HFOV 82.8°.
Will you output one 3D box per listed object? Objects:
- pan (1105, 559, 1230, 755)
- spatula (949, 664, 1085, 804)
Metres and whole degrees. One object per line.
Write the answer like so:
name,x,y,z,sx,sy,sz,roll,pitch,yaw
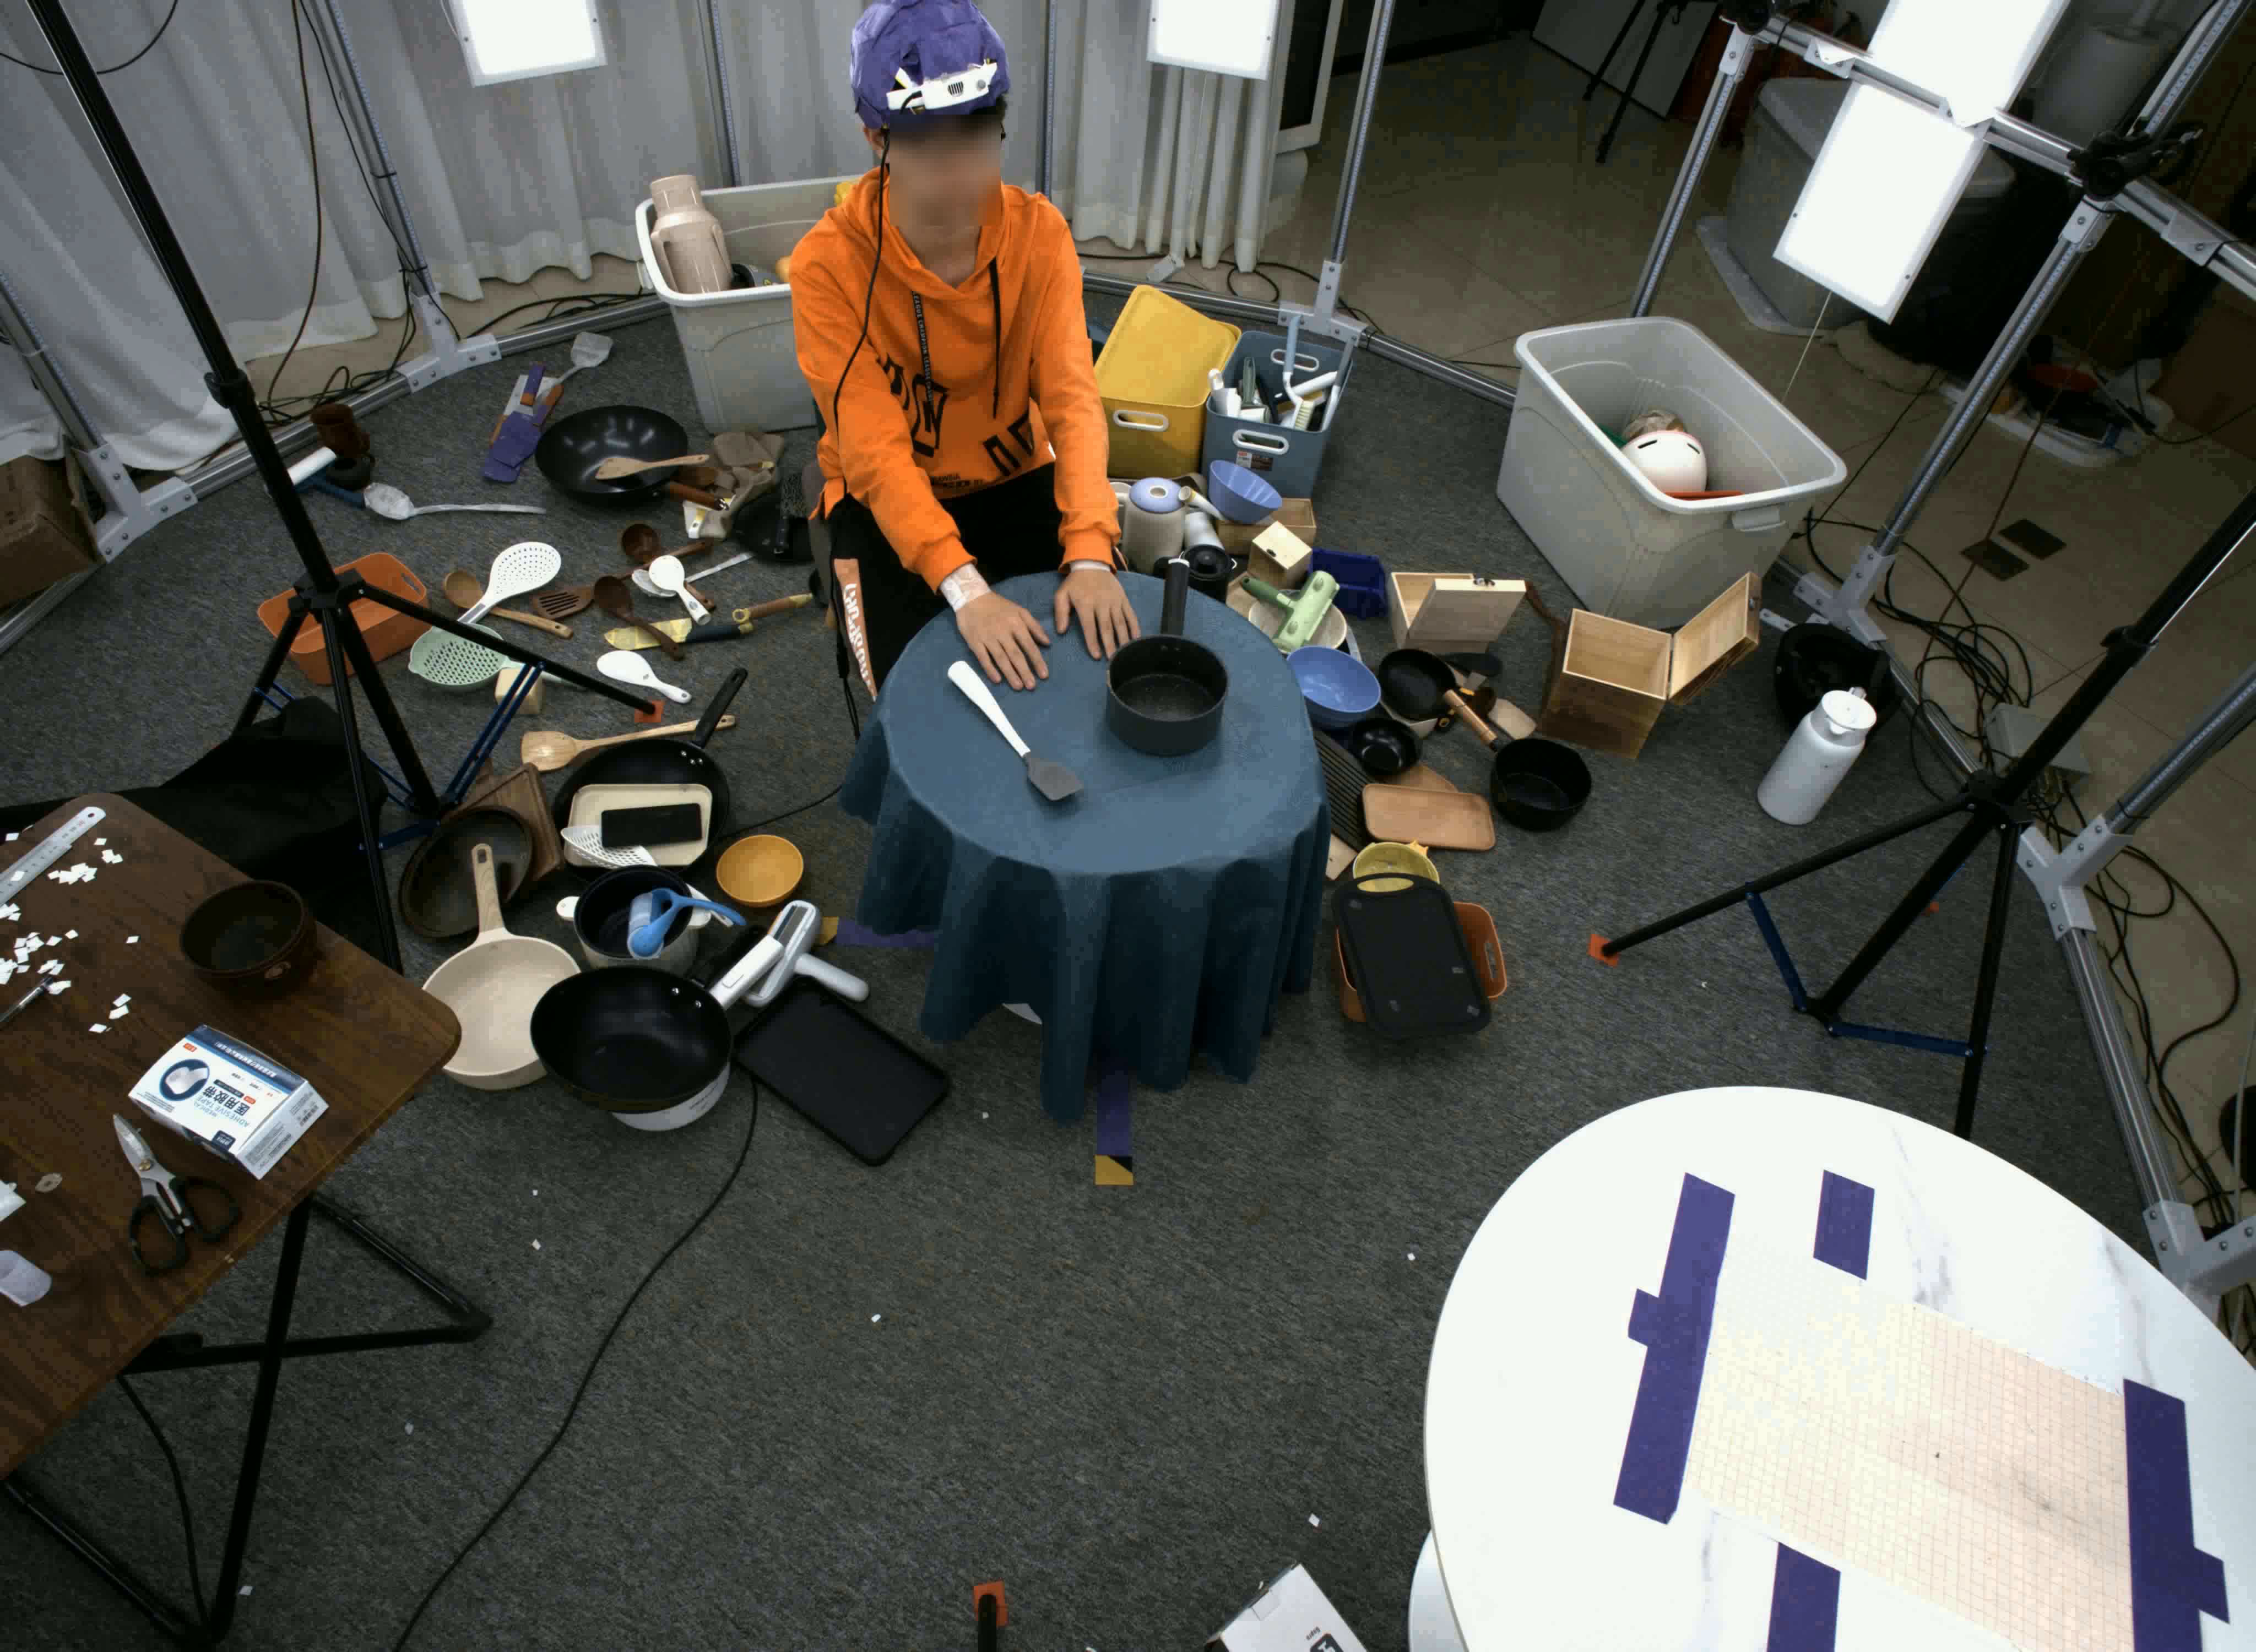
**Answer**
pan,0.063,-0.244,1.830,0.172,0.084,0.336,8,51,2
spatula,-0.157,-0.125,1.747,0.059,0.031,0.293,-24,54,-26
